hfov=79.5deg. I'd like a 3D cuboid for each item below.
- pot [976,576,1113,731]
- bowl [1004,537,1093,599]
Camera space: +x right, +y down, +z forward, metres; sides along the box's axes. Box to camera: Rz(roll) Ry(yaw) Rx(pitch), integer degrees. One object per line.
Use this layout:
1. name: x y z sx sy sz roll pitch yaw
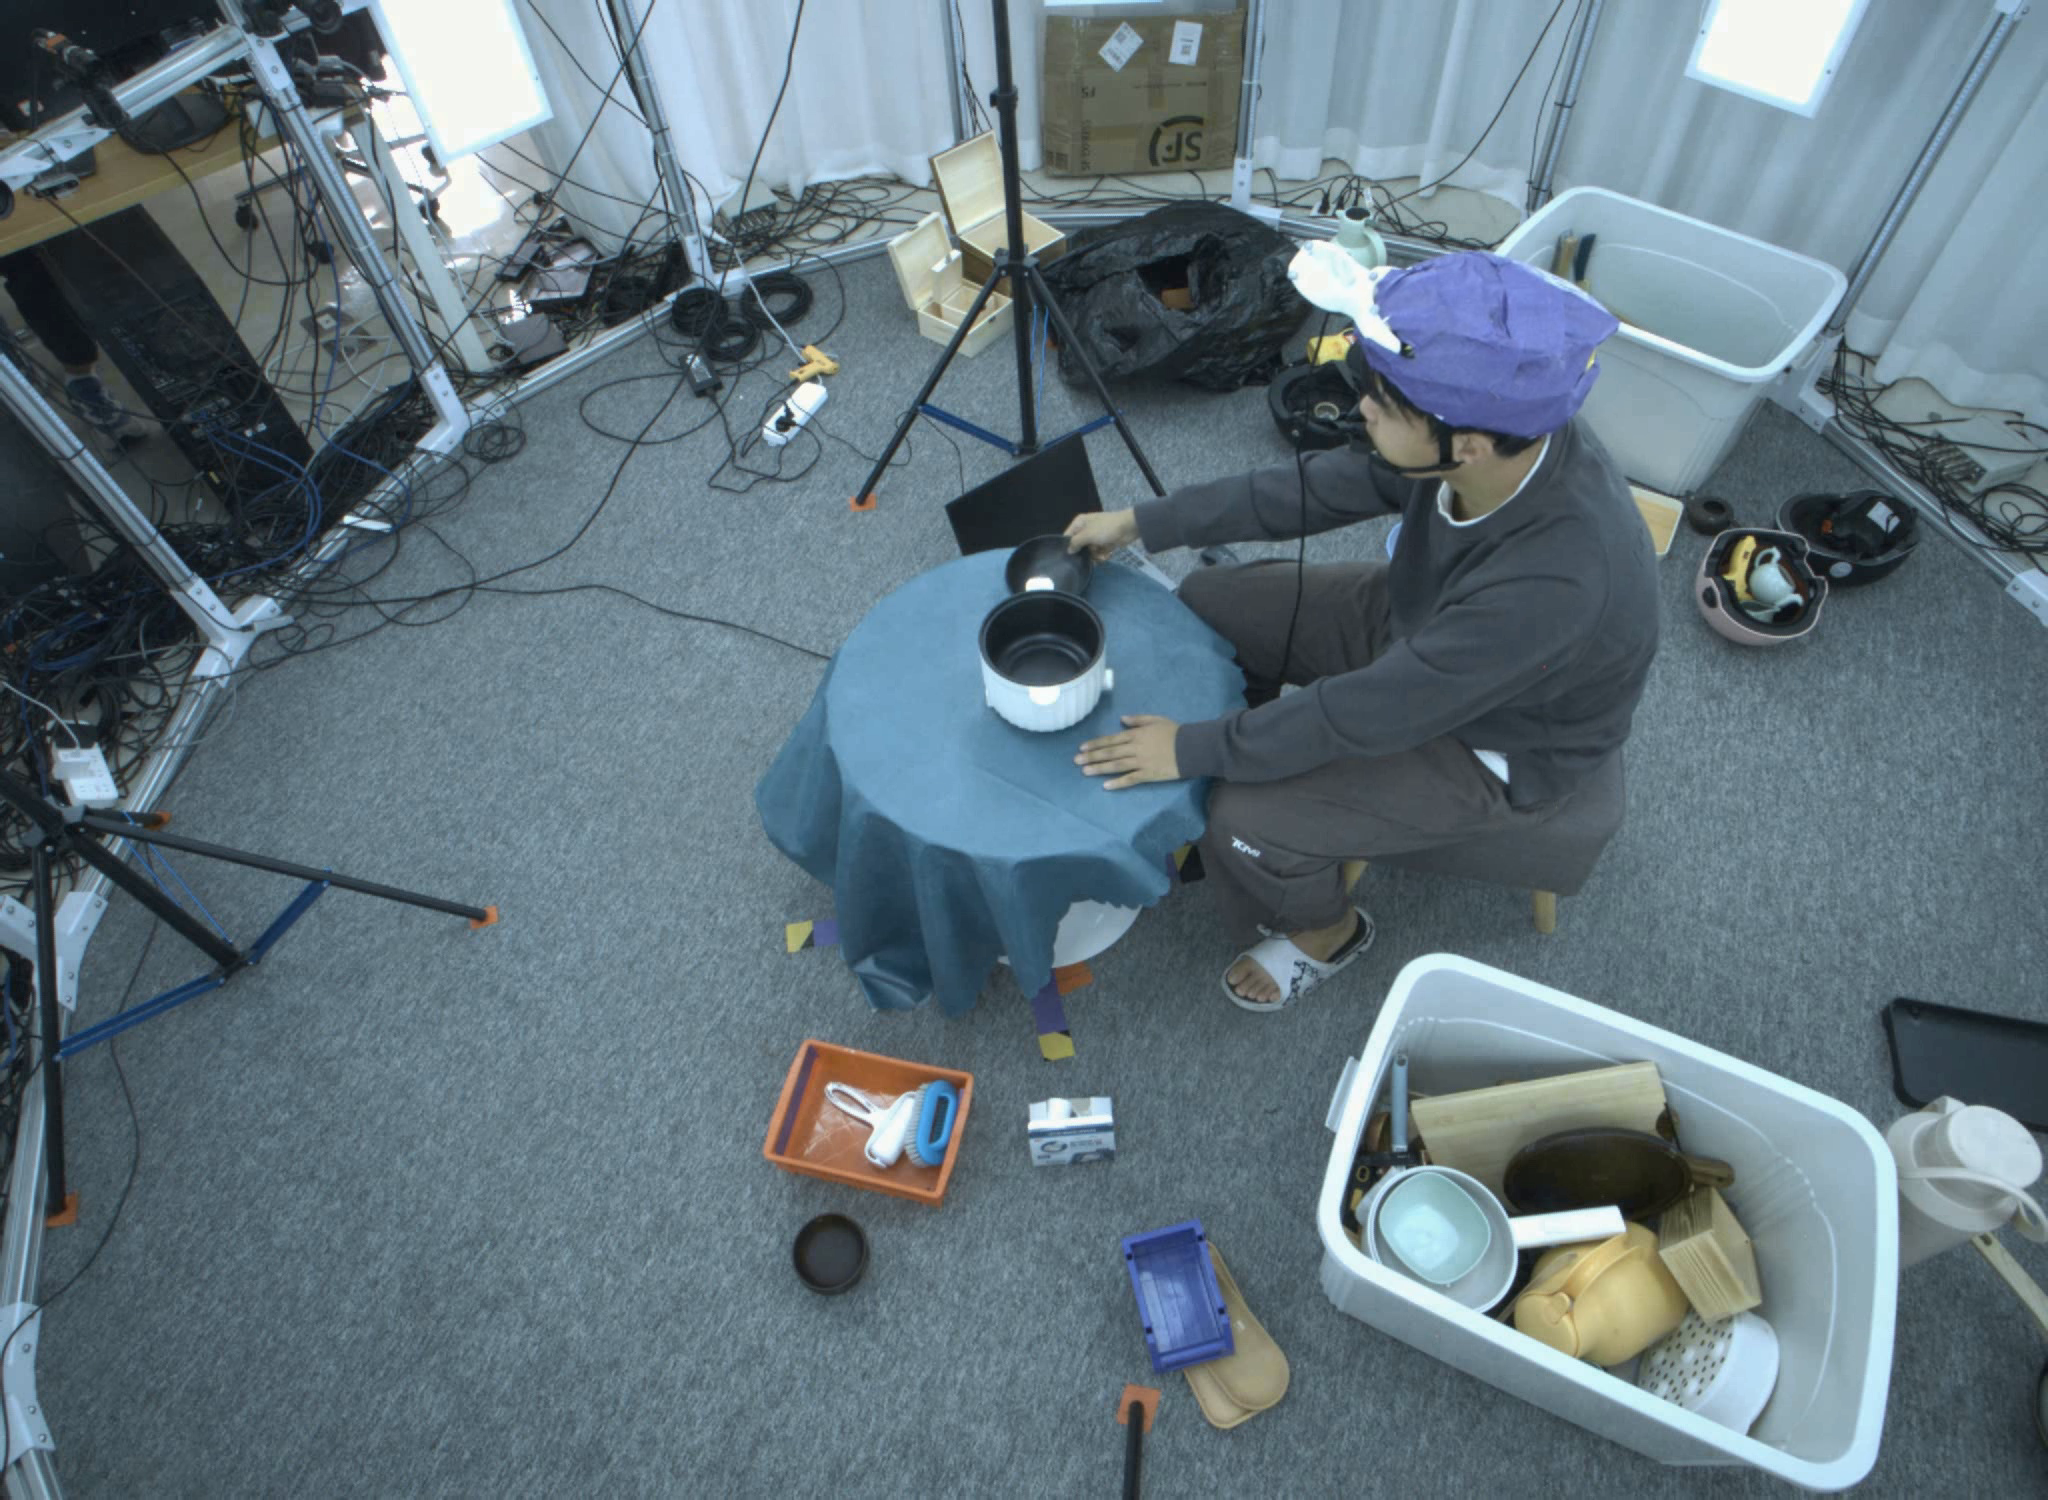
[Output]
1. pot: 0.032 -0.125 1.790 0.190 0.144 0.237 -5 56 2
2. bowl: 0.040 -0.266 1.935 0.136 0.067 0.169 12 55 10
